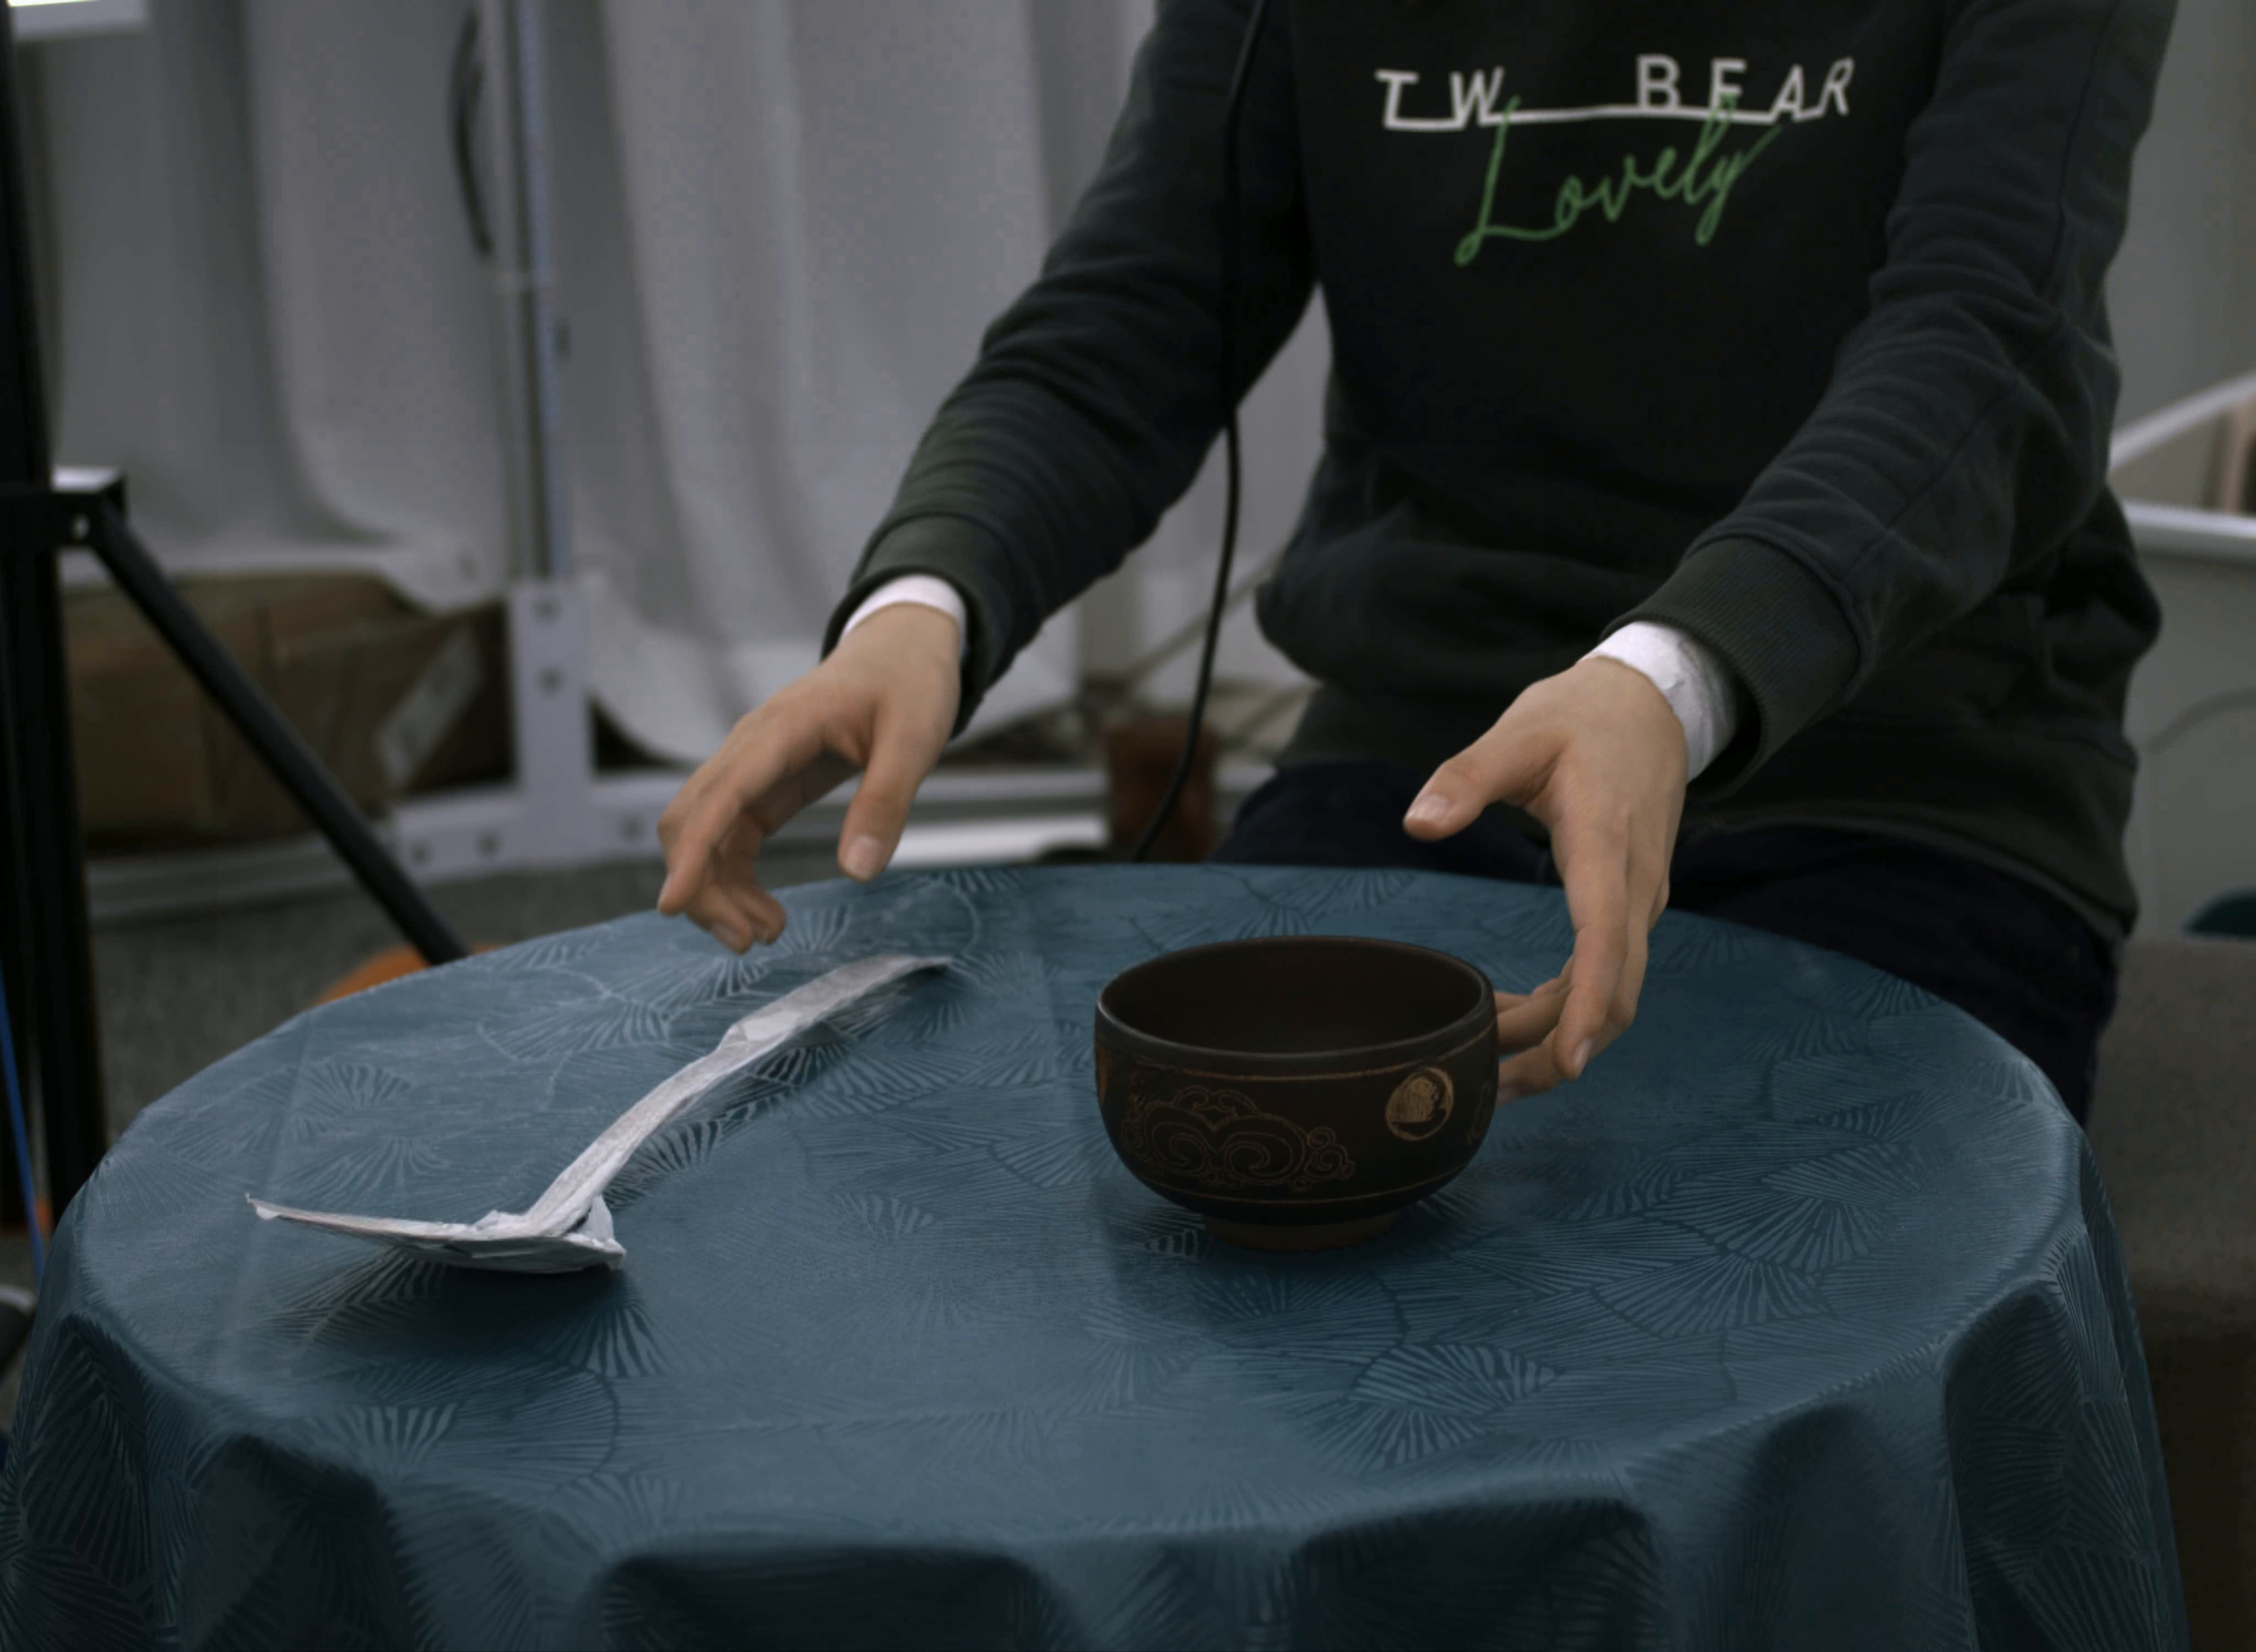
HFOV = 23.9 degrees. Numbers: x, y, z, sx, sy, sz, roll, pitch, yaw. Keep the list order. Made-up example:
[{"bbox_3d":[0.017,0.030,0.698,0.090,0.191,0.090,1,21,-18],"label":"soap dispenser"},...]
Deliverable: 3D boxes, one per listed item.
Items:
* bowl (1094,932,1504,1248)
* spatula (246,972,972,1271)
[{"bbox_3d":[0.049,0.079,1.520,0.117,0.070,0.118,-1,15,-1],"label":"bowl"},{"bbox_3d":[-0.135,0.079,1.611,0.100,0.045,0.359,2,17,24],"label":"spatula"}]
